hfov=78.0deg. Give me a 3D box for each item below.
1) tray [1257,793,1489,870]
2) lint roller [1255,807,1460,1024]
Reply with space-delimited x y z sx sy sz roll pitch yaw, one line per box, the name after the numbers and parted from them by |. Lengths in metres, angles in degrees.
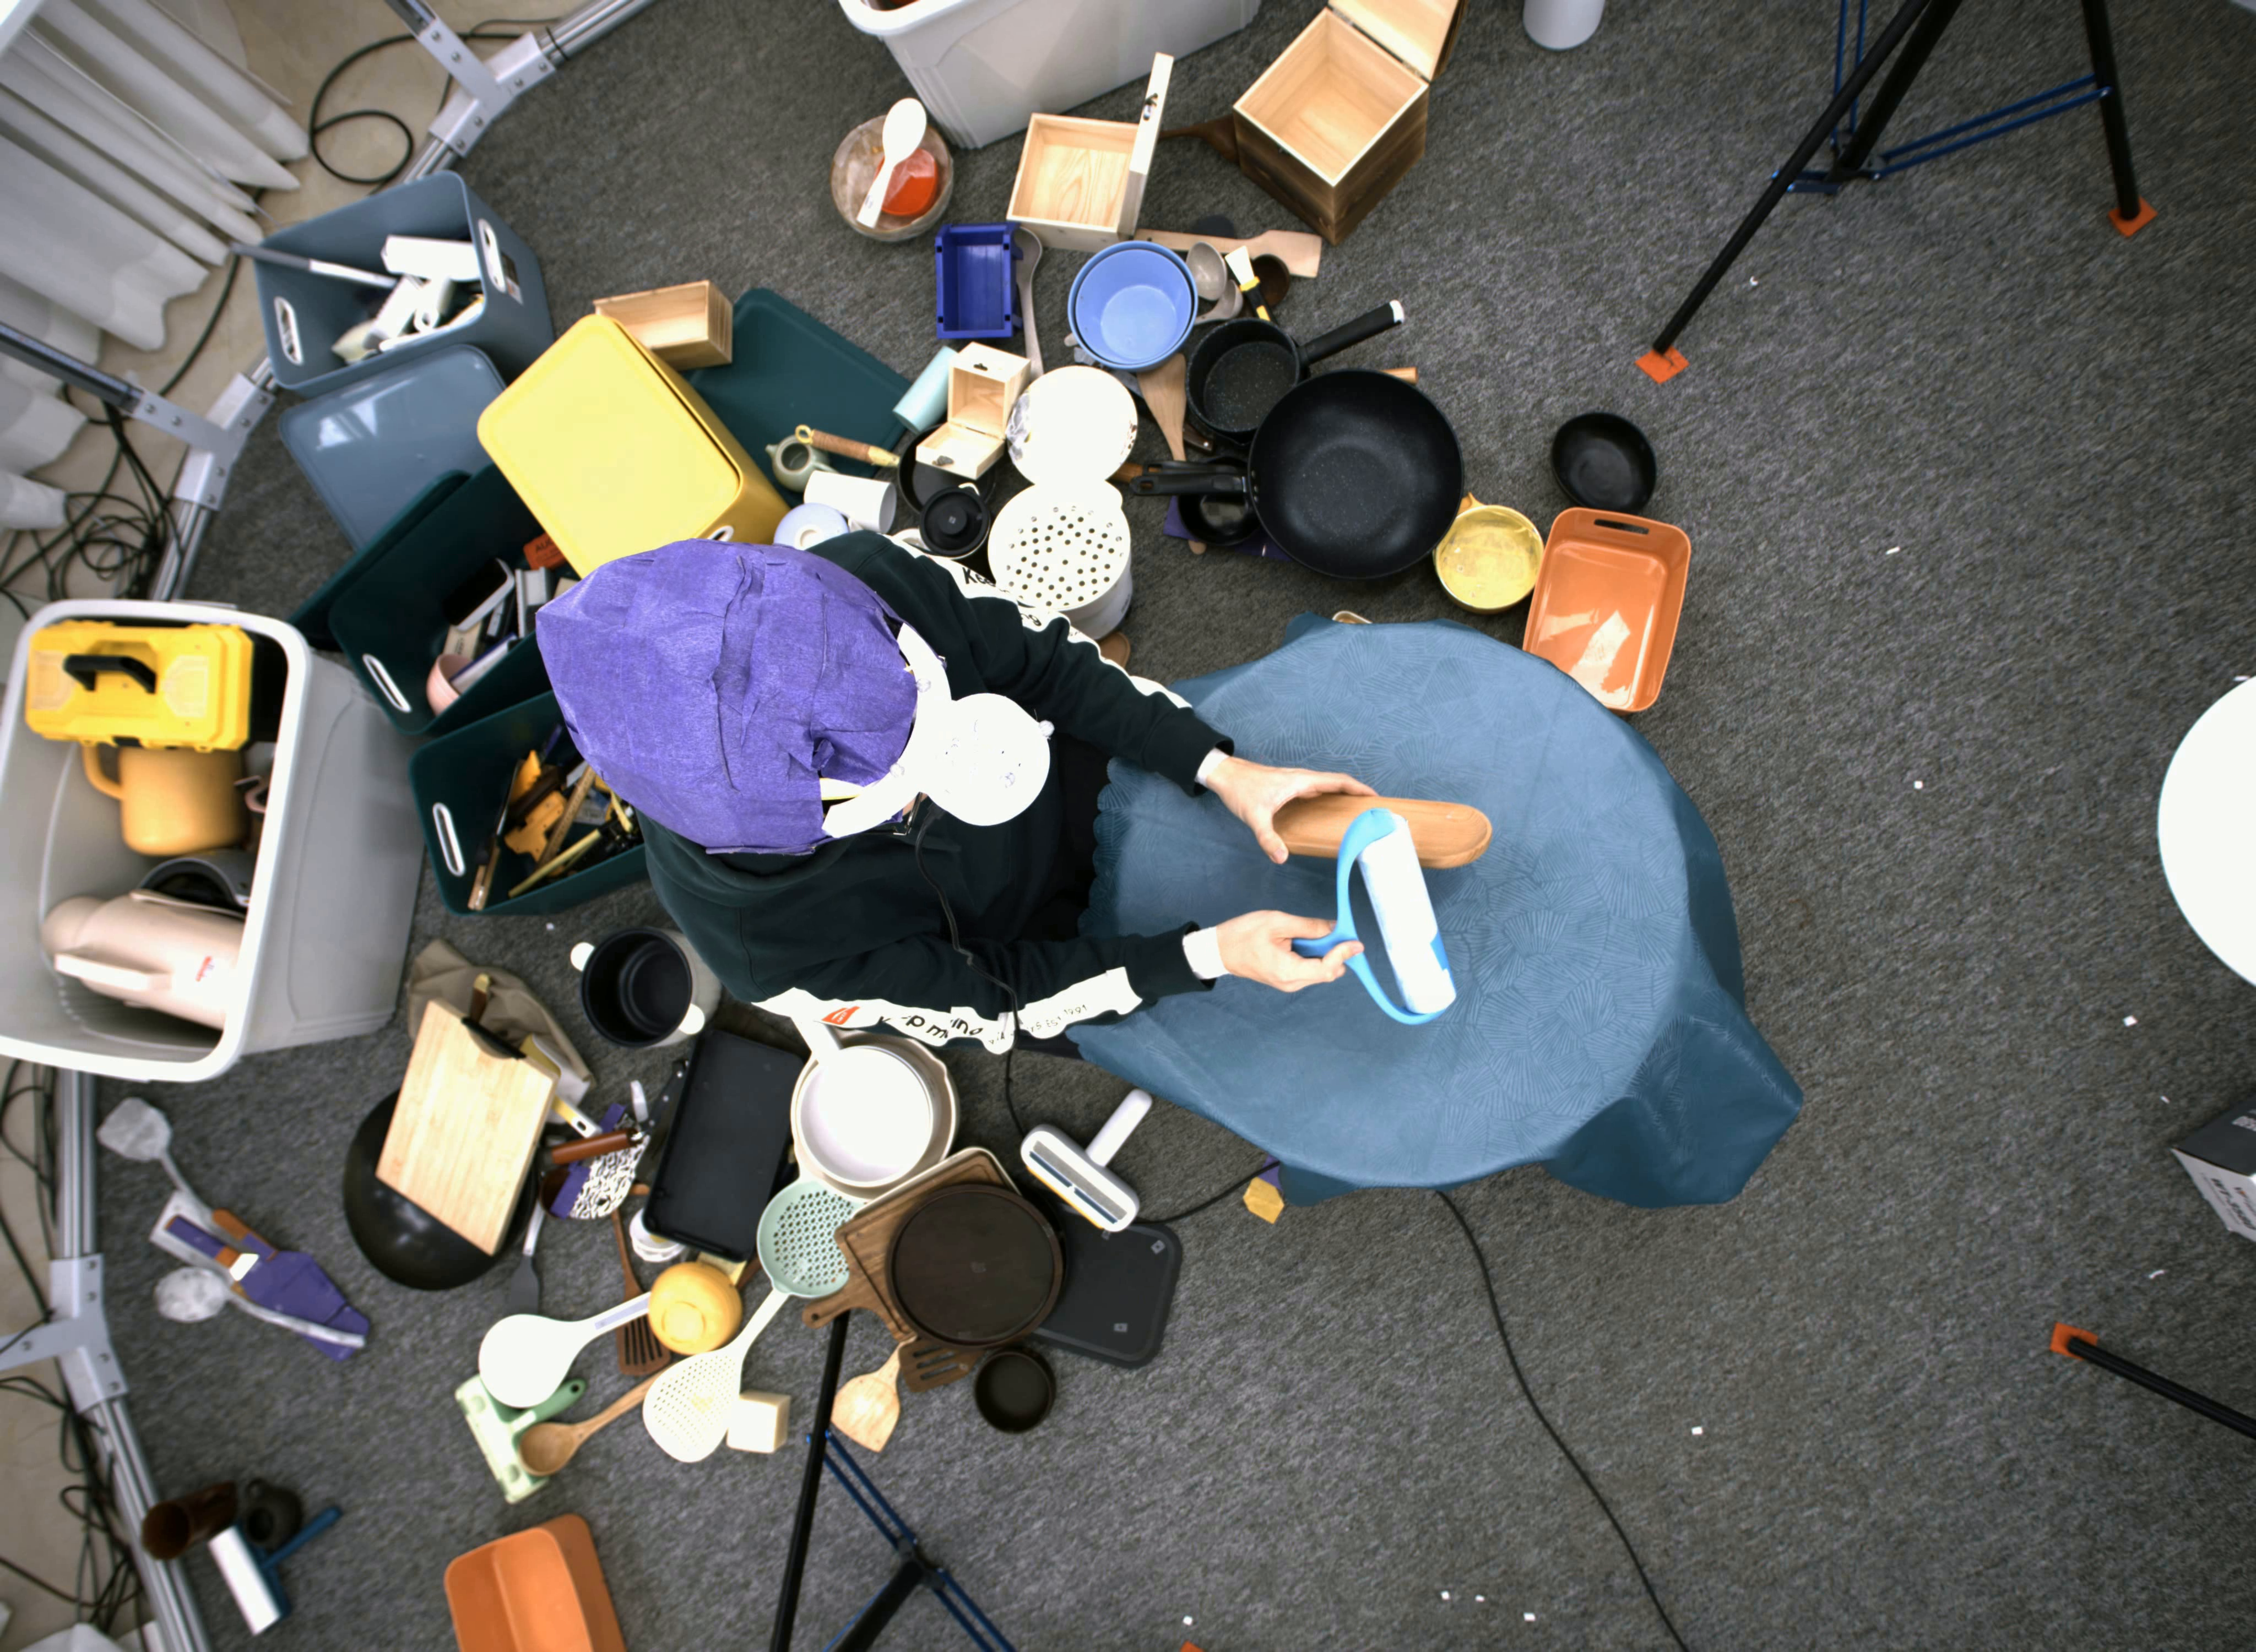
0.240 0.003 1.364 0.232 0.099 0.021 4 125 26 | tray
0.206 0.100 1.311 0.182 0.066 0.232 -17 116 18 | lint roller
